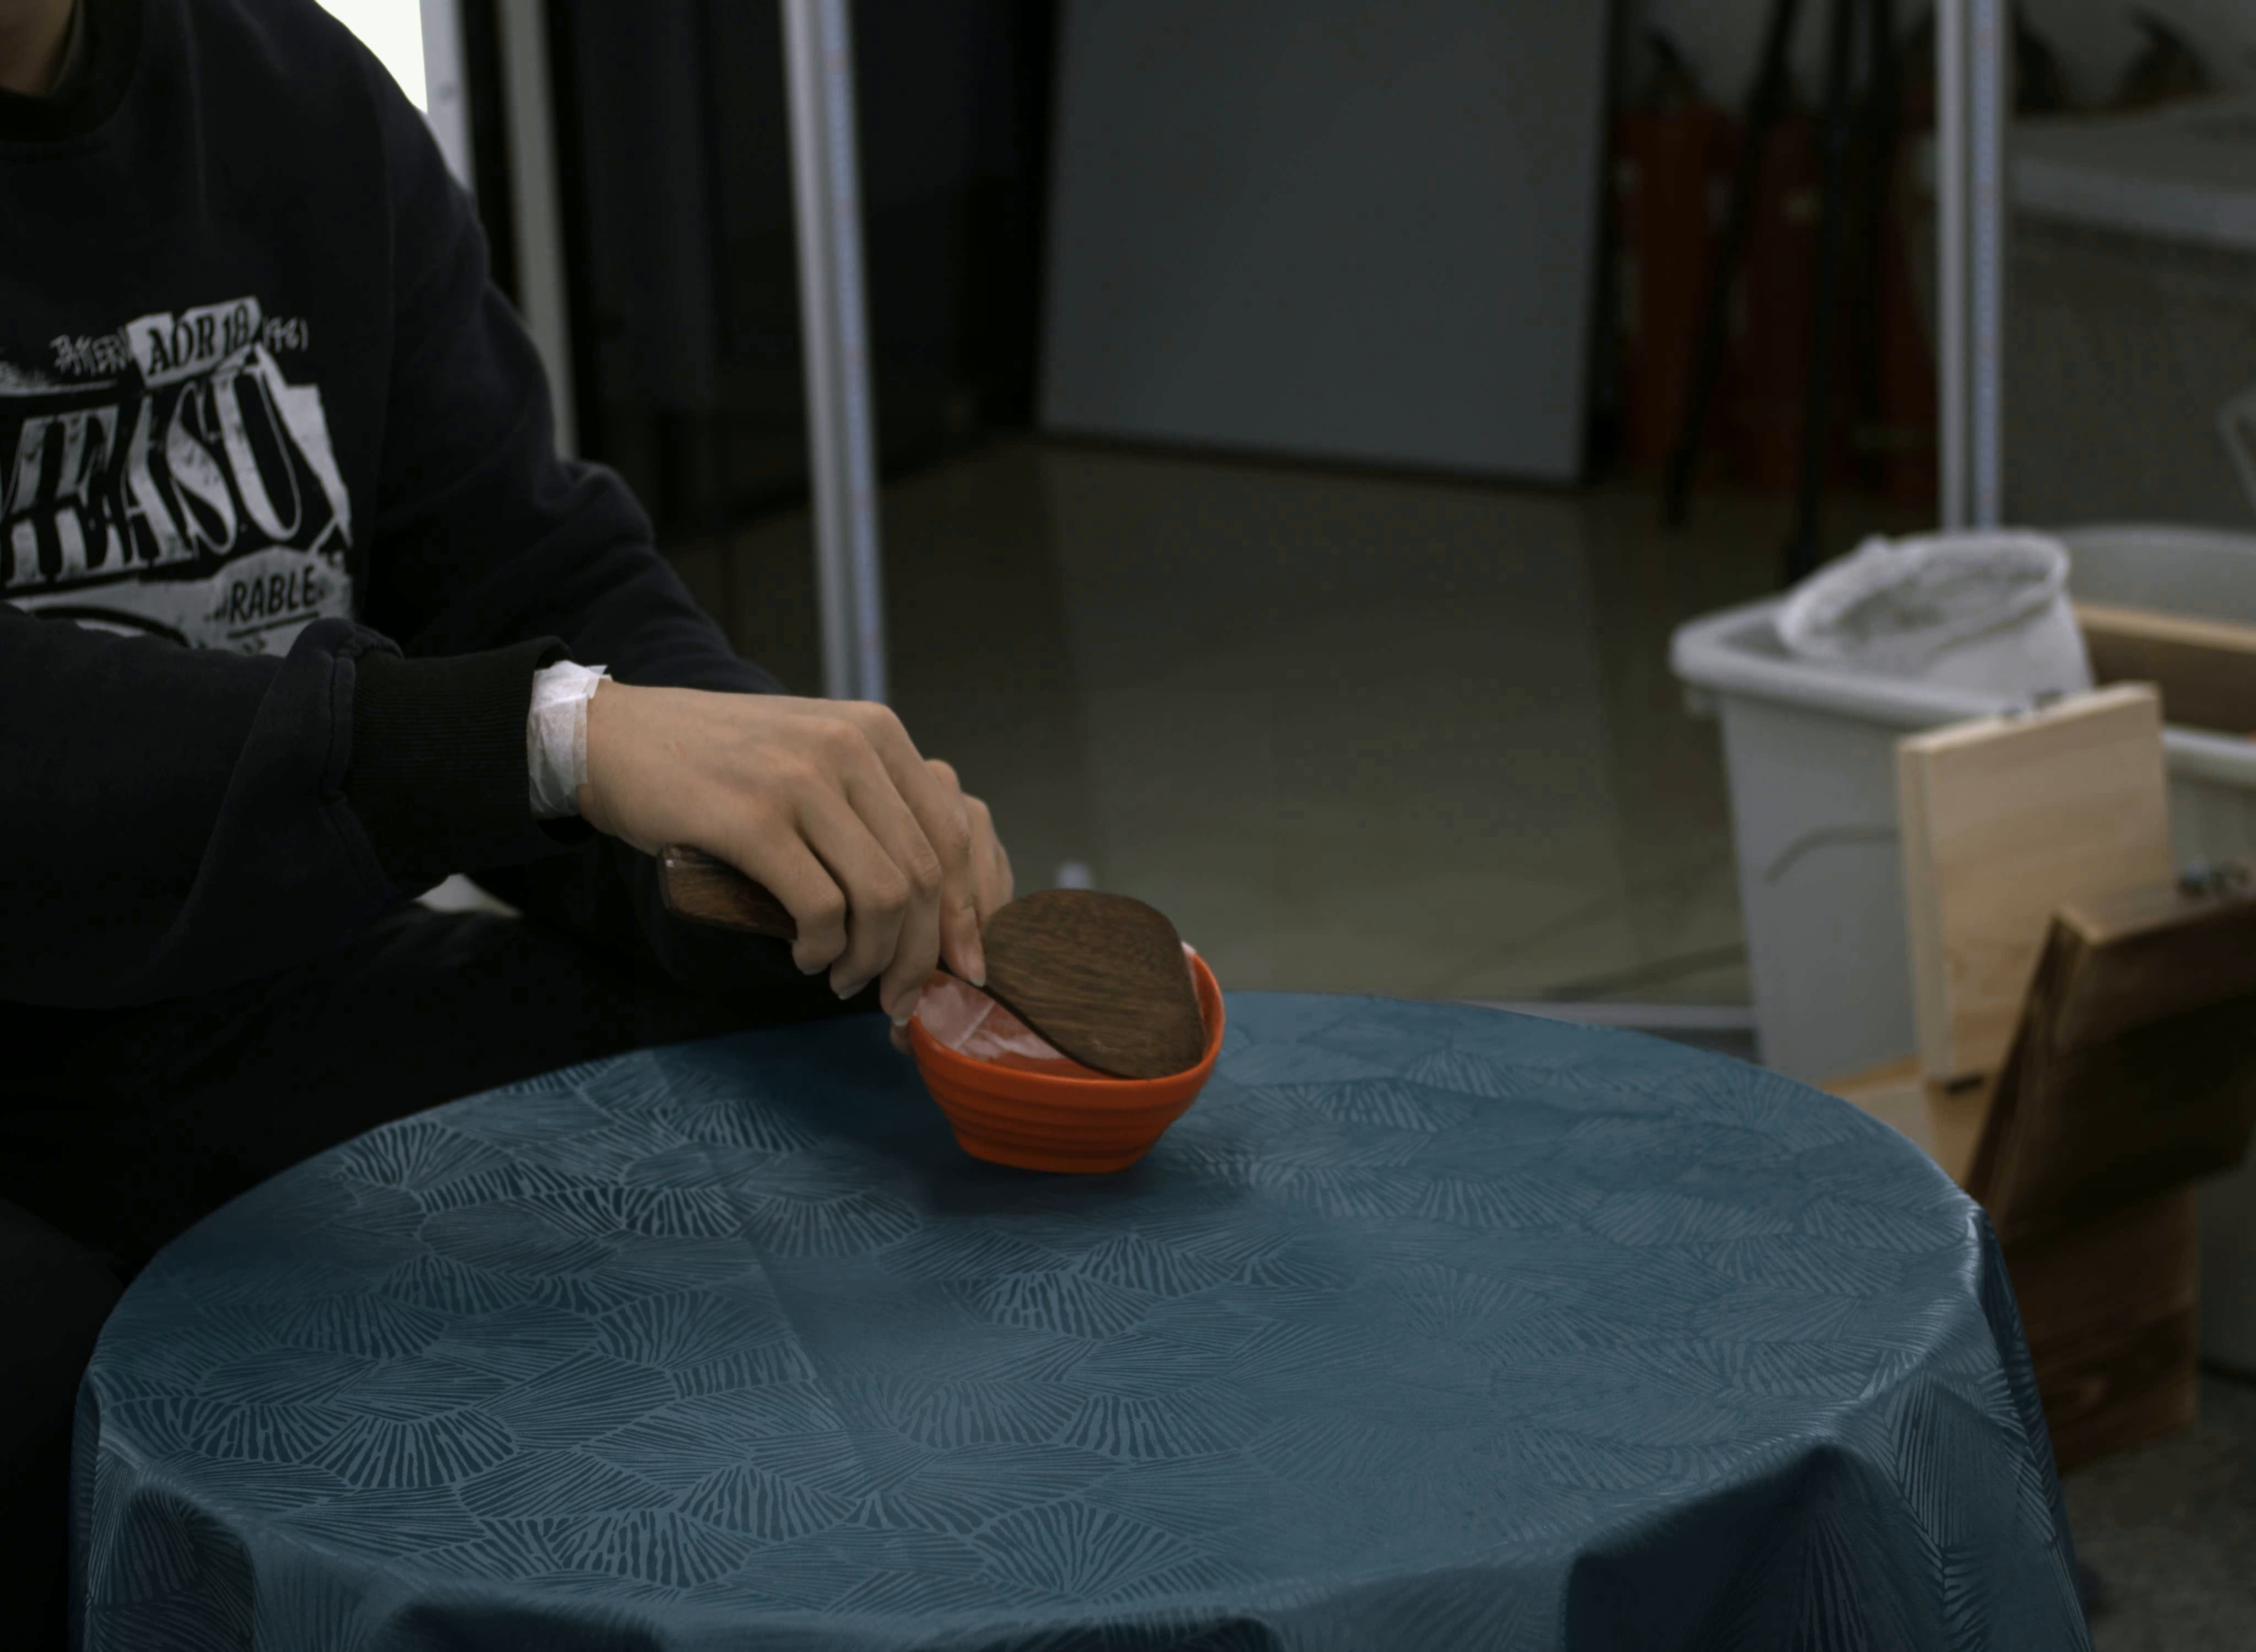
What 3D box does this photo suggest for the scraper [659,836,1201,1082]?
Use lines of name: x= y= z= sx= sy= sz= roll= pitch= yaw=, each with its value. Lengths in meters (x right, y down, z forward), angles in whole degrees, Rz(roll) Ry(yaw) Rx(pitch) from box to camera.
scraper: x=-0.063 y=0.036 z=1.749 sx=0.206 sy=0.077 sz=0.011 roll=15 pitch=-40 yaw=-34

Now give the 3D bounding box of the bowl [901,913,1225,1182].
bowl: x=-0.024 y=0.079 z=1.805 sx=0.117 sy=0.052 sz=0.119 roll=6 pitch=30 yaw=-4
